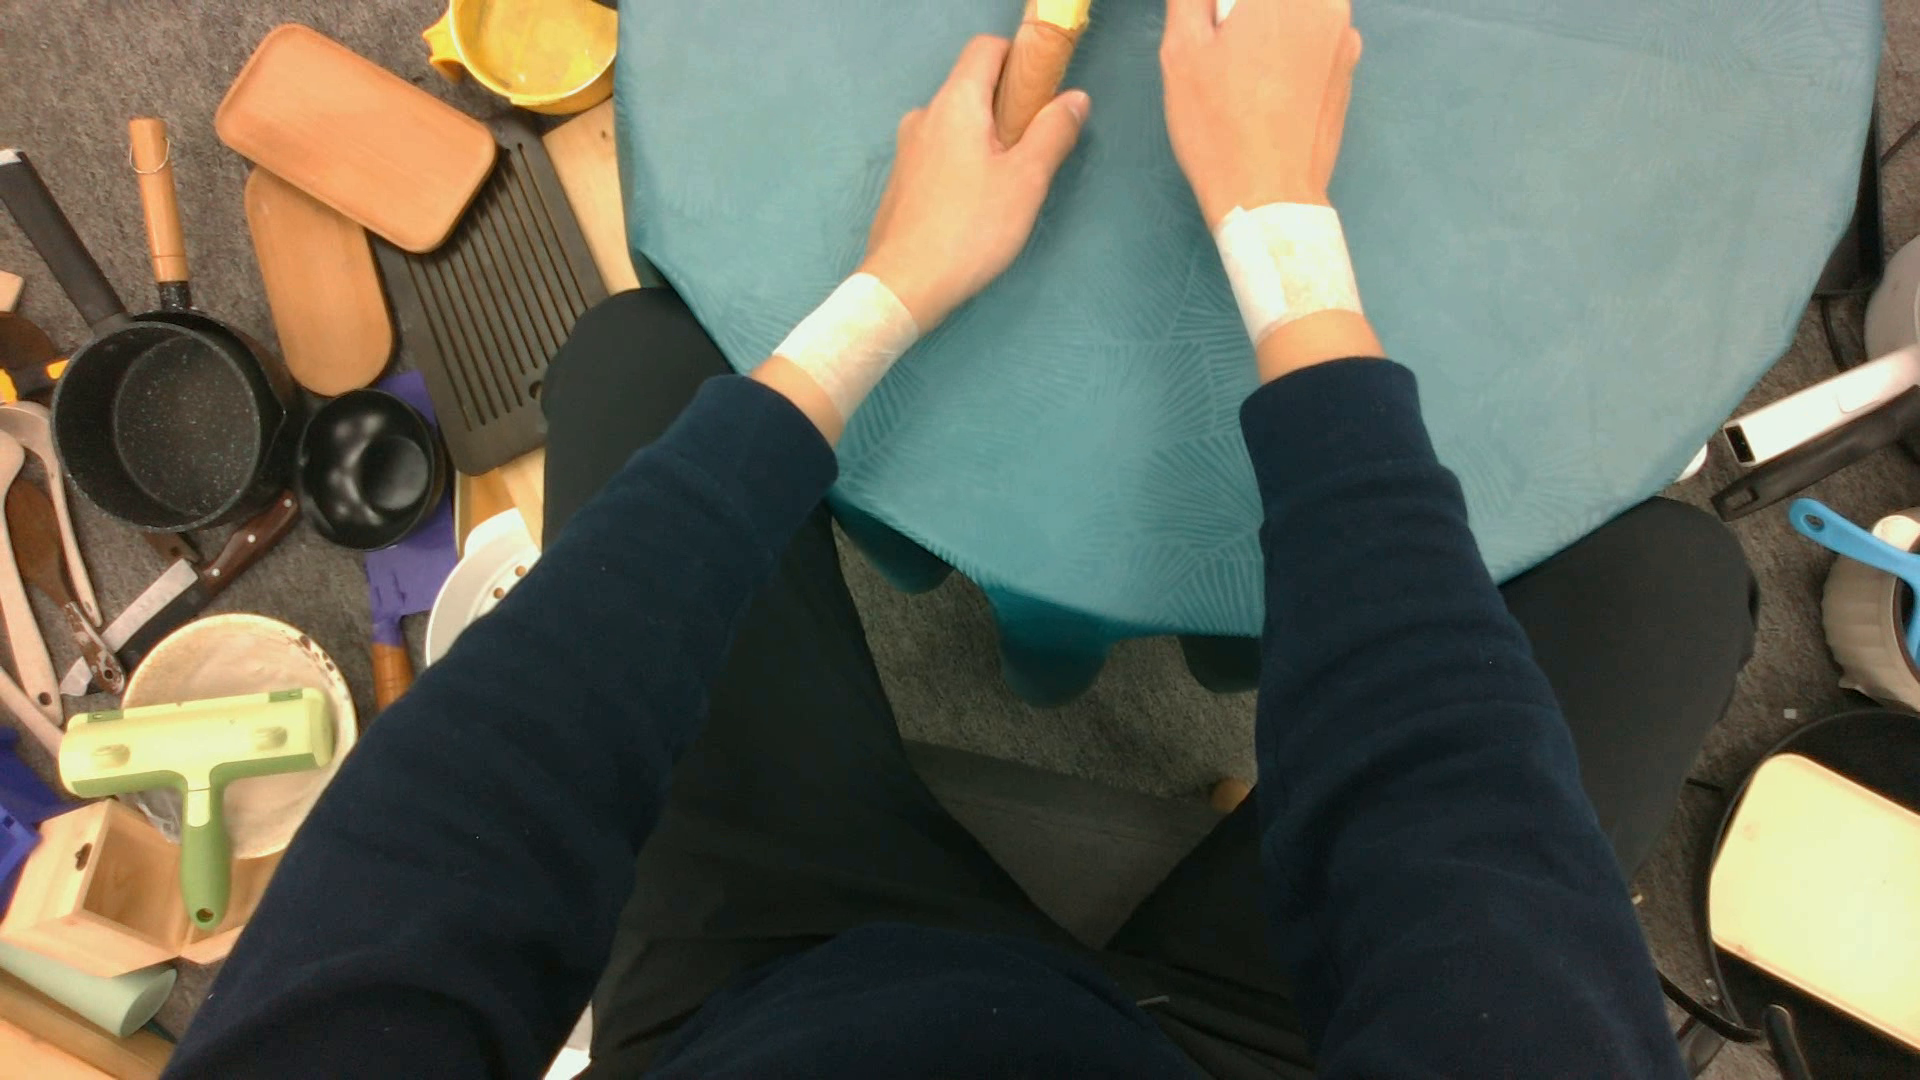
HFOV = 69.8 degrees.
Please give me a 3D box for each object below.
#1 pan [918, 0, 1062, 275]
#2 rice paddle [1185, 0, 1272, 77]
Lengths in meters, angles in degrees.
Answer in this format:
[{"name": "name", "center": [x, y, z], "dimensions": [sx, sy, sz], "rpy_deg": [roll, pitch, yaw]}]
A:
[{"name": "pan", "center": [0.043, -0.273, 0.623], "dimensions": [0.169, 0.049, 0.324], "rpy_deg": [22, 95, -23]}, {"name": "rice paddle", "center": [0.094, -0.306, 0.600], "dimensions": [0.069, 0.029, 0.205], "rpy_deg": [-14, 89, -15]}]
